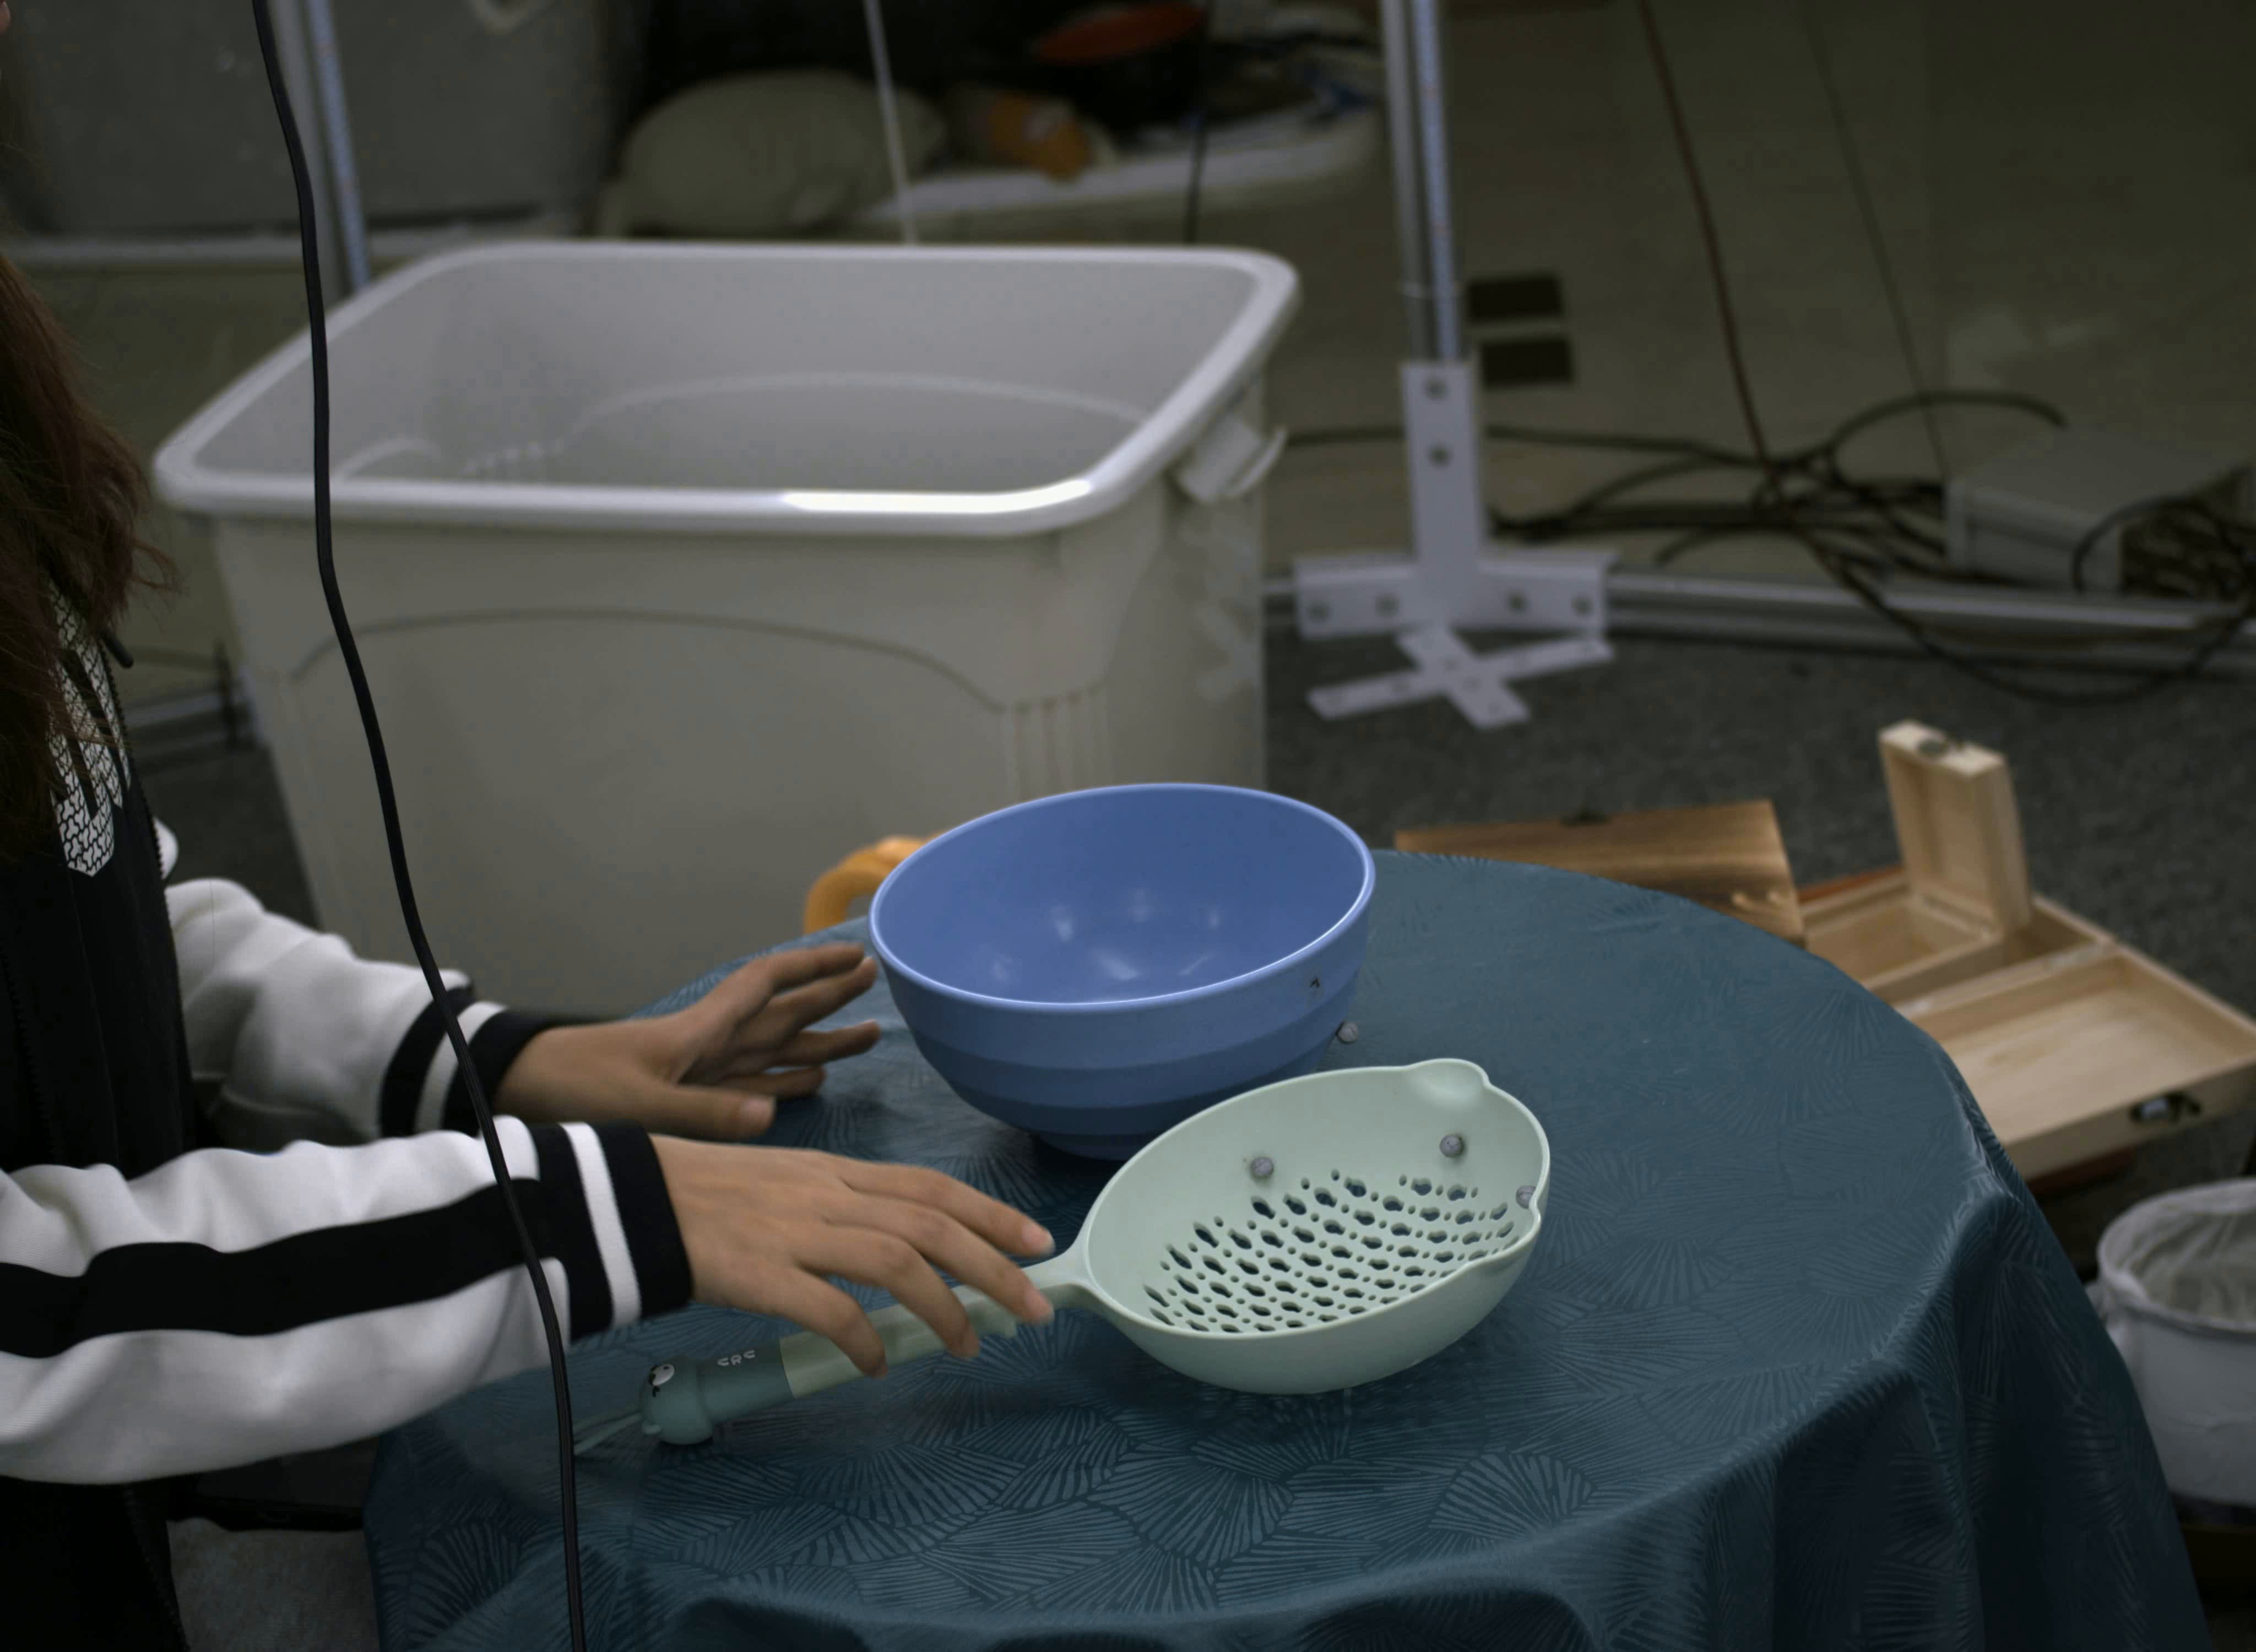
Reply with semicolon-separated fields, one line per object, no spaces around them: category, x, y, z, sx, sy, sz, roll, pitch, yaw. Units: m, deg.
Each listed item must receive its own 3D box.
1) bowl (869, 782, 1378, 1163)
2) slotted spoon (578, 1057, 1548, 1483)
bowl;0.003;0.067;2.189;0.196;0.097;0.193;-5;26;3
slotted spoon;-0.025;0.171;2.017;0.358;0.076;0.167;-10;26;-3
